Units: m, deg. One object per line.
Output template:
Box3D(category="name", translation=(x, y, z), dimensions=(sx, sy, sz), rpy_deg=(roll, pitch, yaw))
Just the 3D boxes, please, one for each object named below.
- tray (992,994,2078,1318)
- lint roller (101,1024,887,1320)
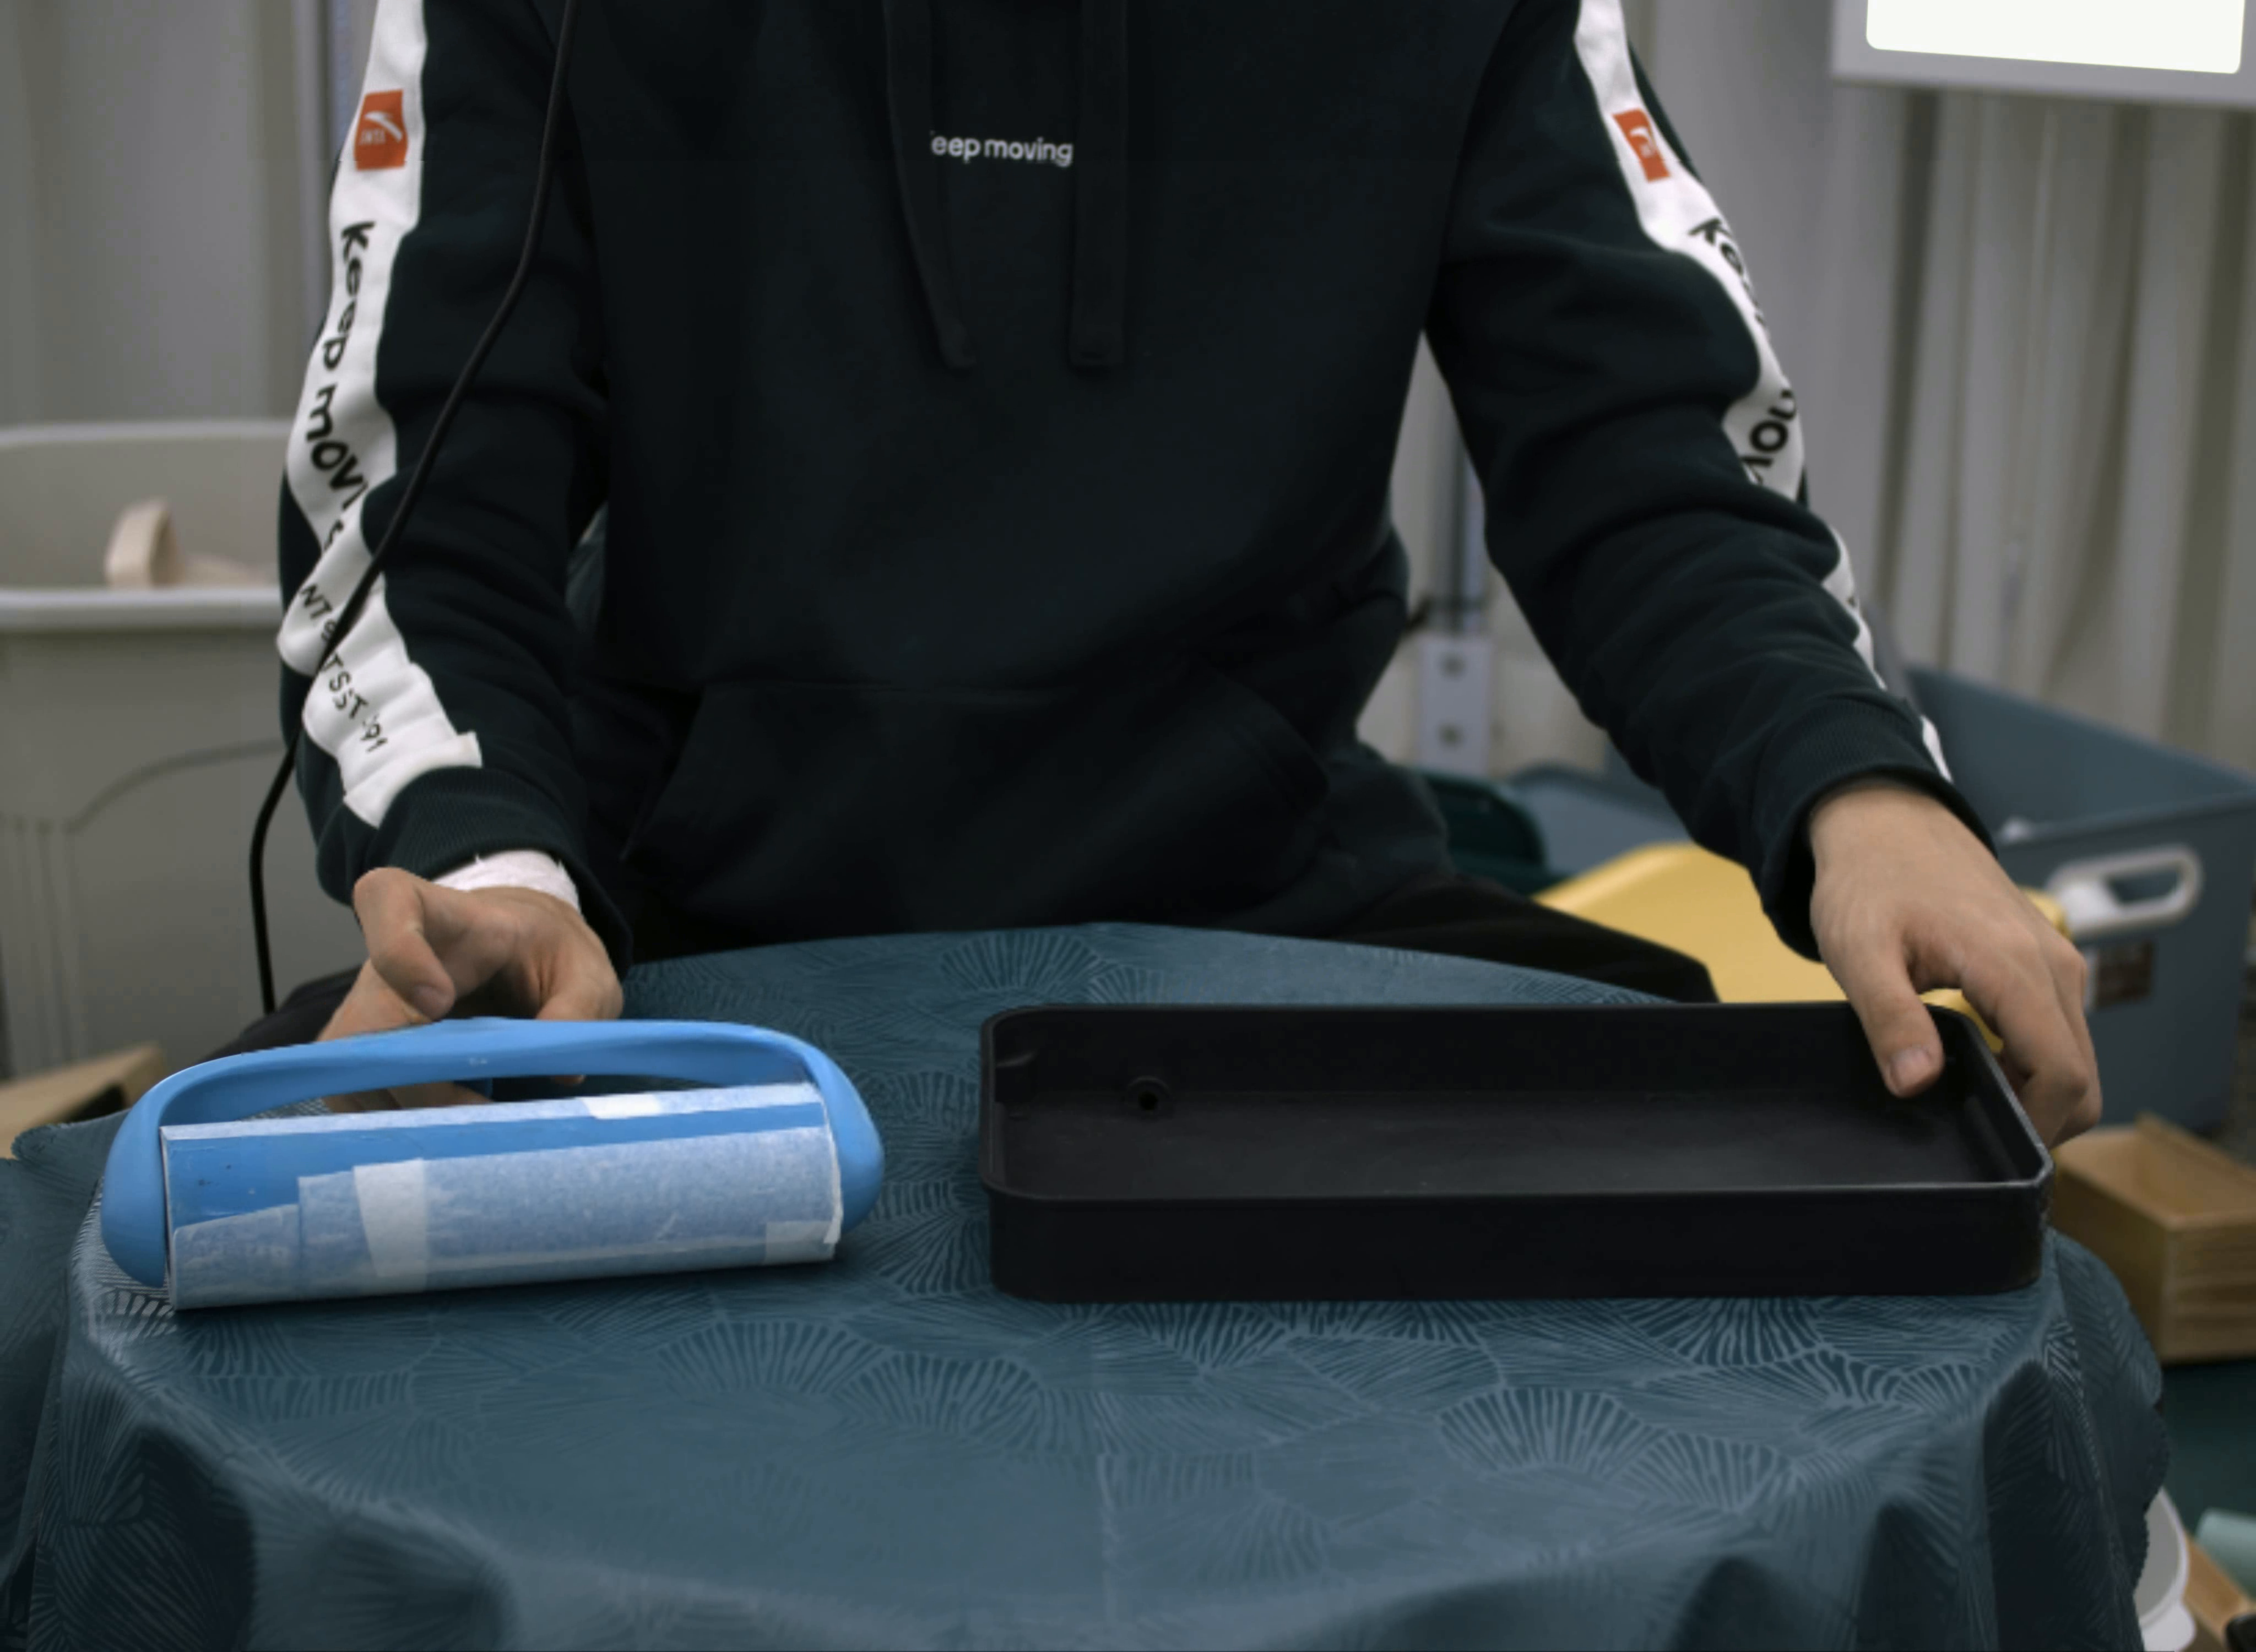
Box3D(category="tray", translation=(0.118, 0.098, 1.611), dimensions=(0.317, 0.037, 0.183), rpy_deg=(-2, 15, -3))
Box3D(category="lint roller", translation=(-0.199, 0.090, 1.586), dimensions=(0.229, 0.068, 0.178), rpy_deg=(-6, 18, -15))
